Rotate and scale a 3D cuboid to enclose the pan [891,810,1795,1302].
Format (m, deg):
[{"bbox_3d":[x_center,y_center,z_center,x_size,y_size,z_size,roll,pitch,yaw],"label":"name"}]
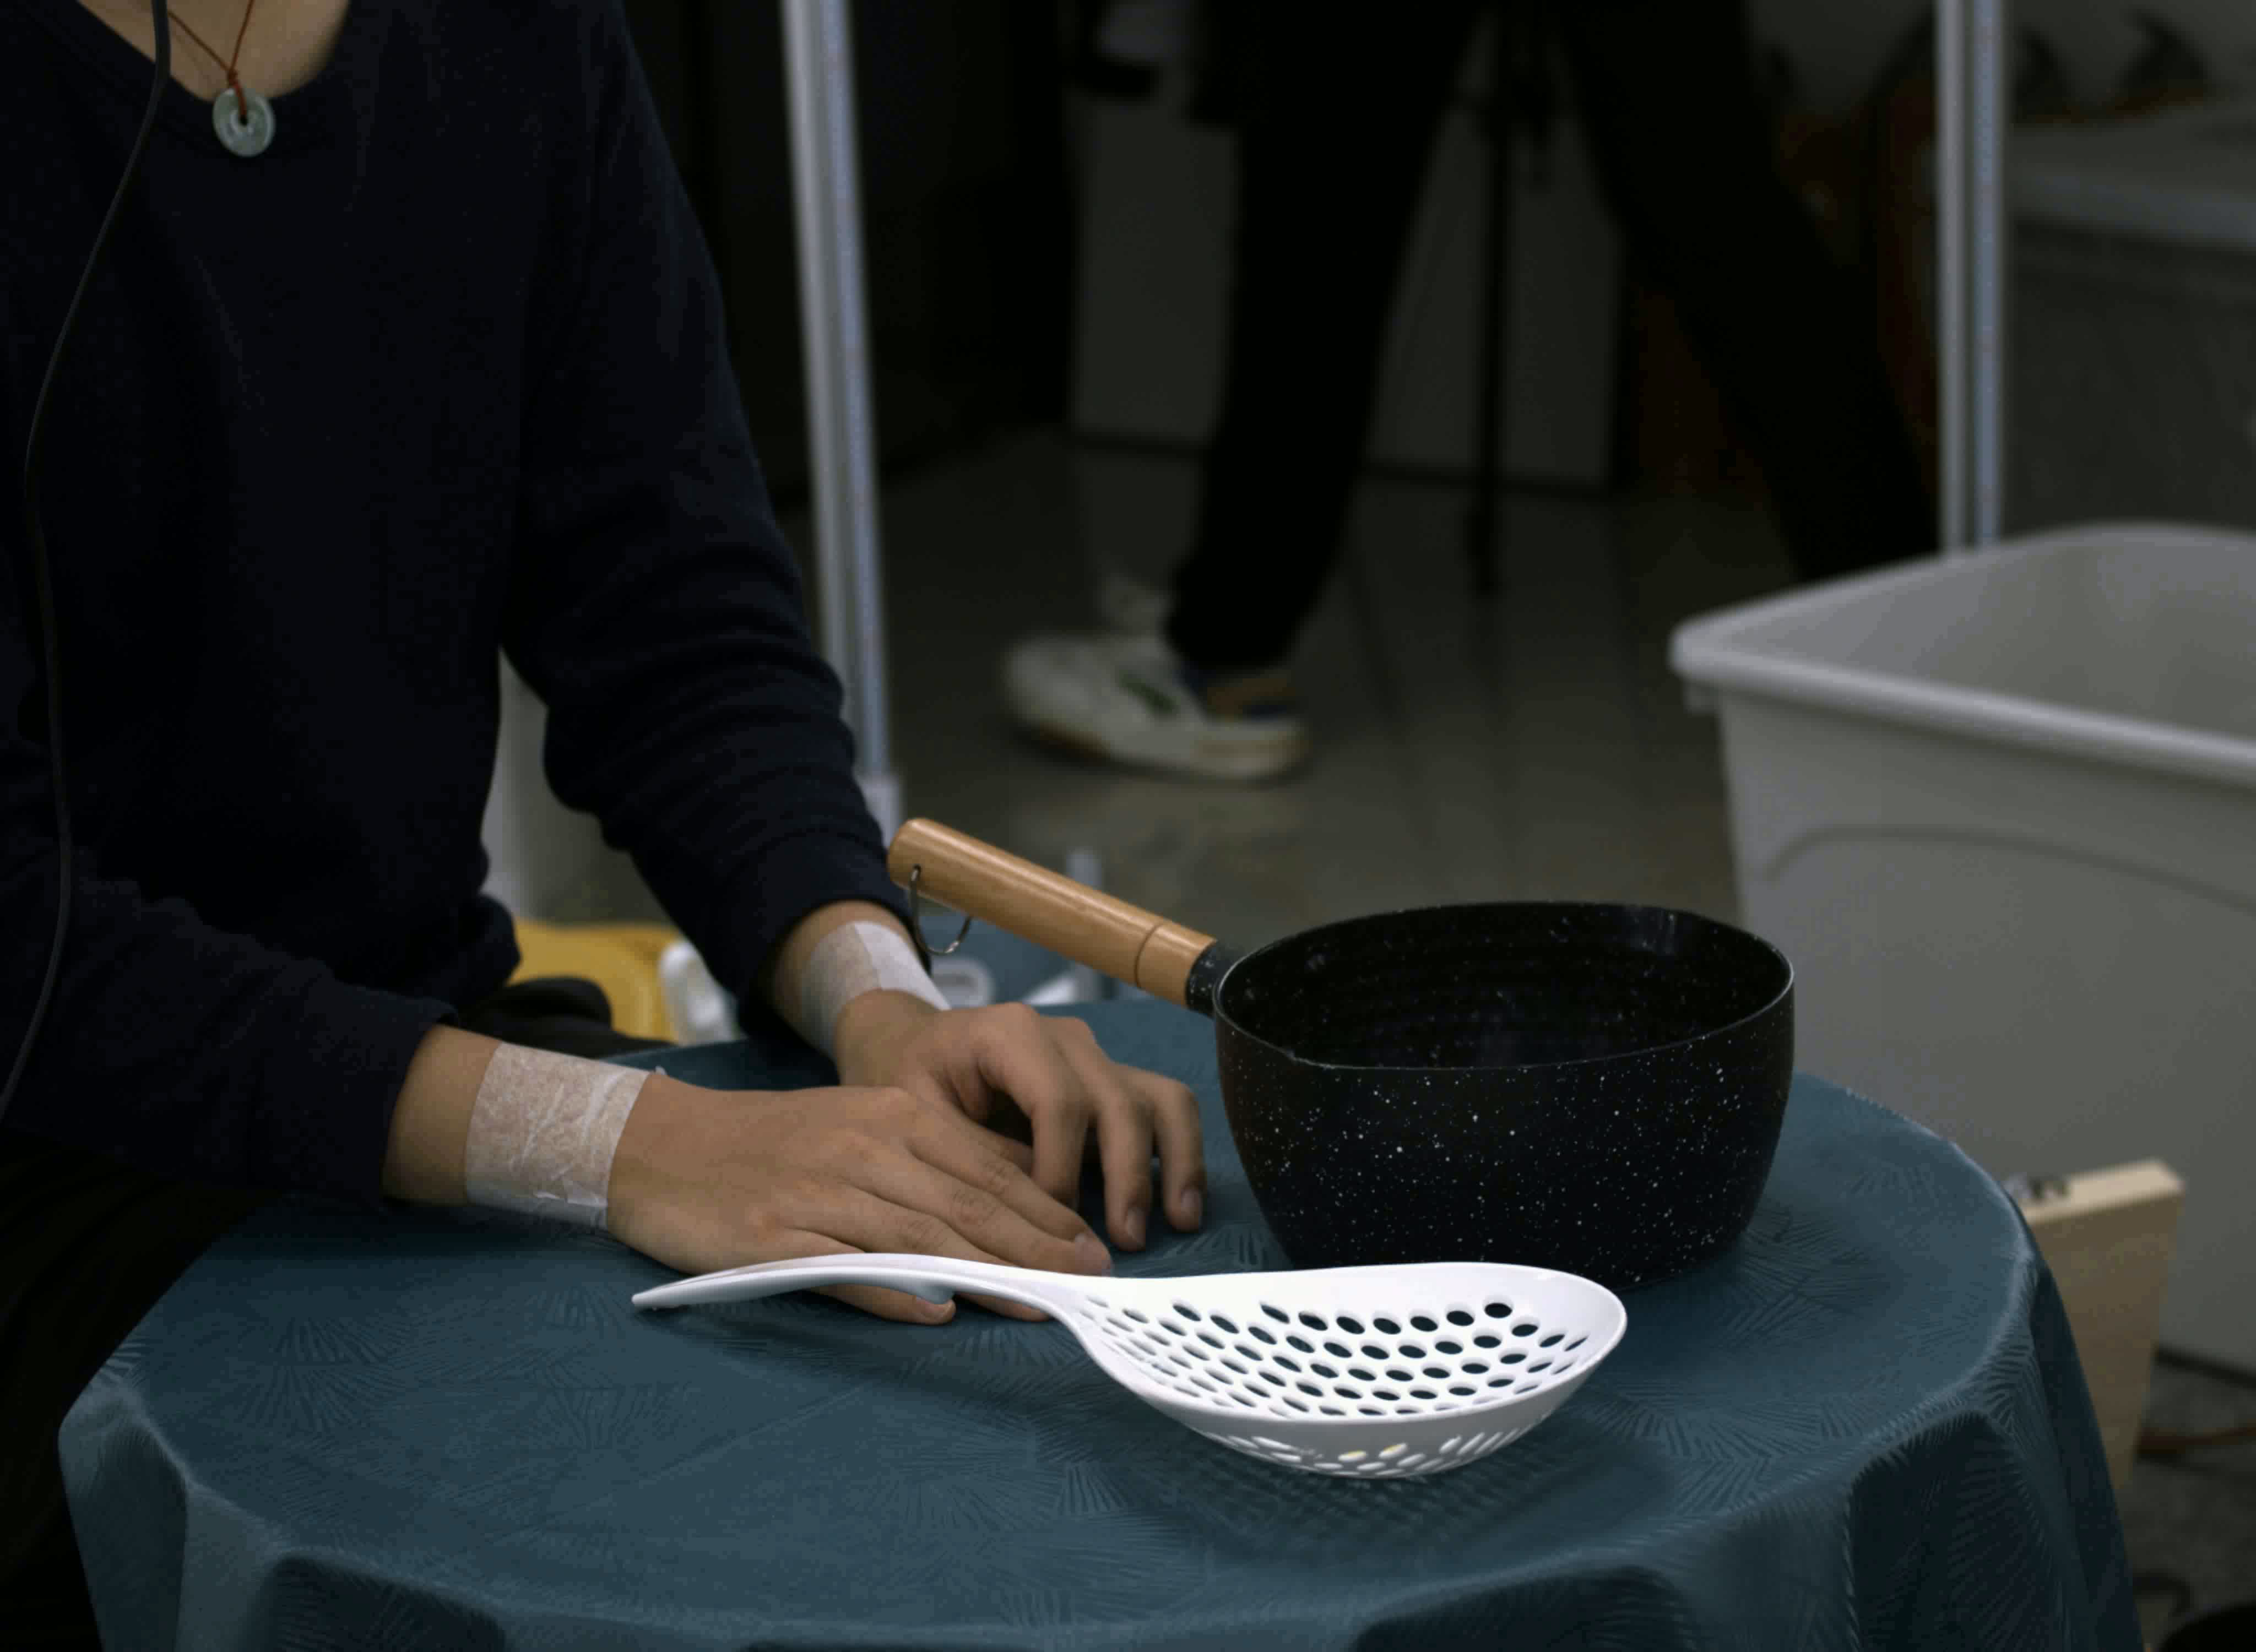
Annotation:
[{"bbox_3d":[0.057,0.068,1.742,0.345,0.109,0.204,8,19,38],"label":"pan"}]

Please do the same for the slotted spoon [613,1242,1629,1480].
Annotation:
[{"bbox_3d":[-0.014,0.147,1.578,0.350,0.051,0.134,8,20,36],"label":"slotted spoon"}]
